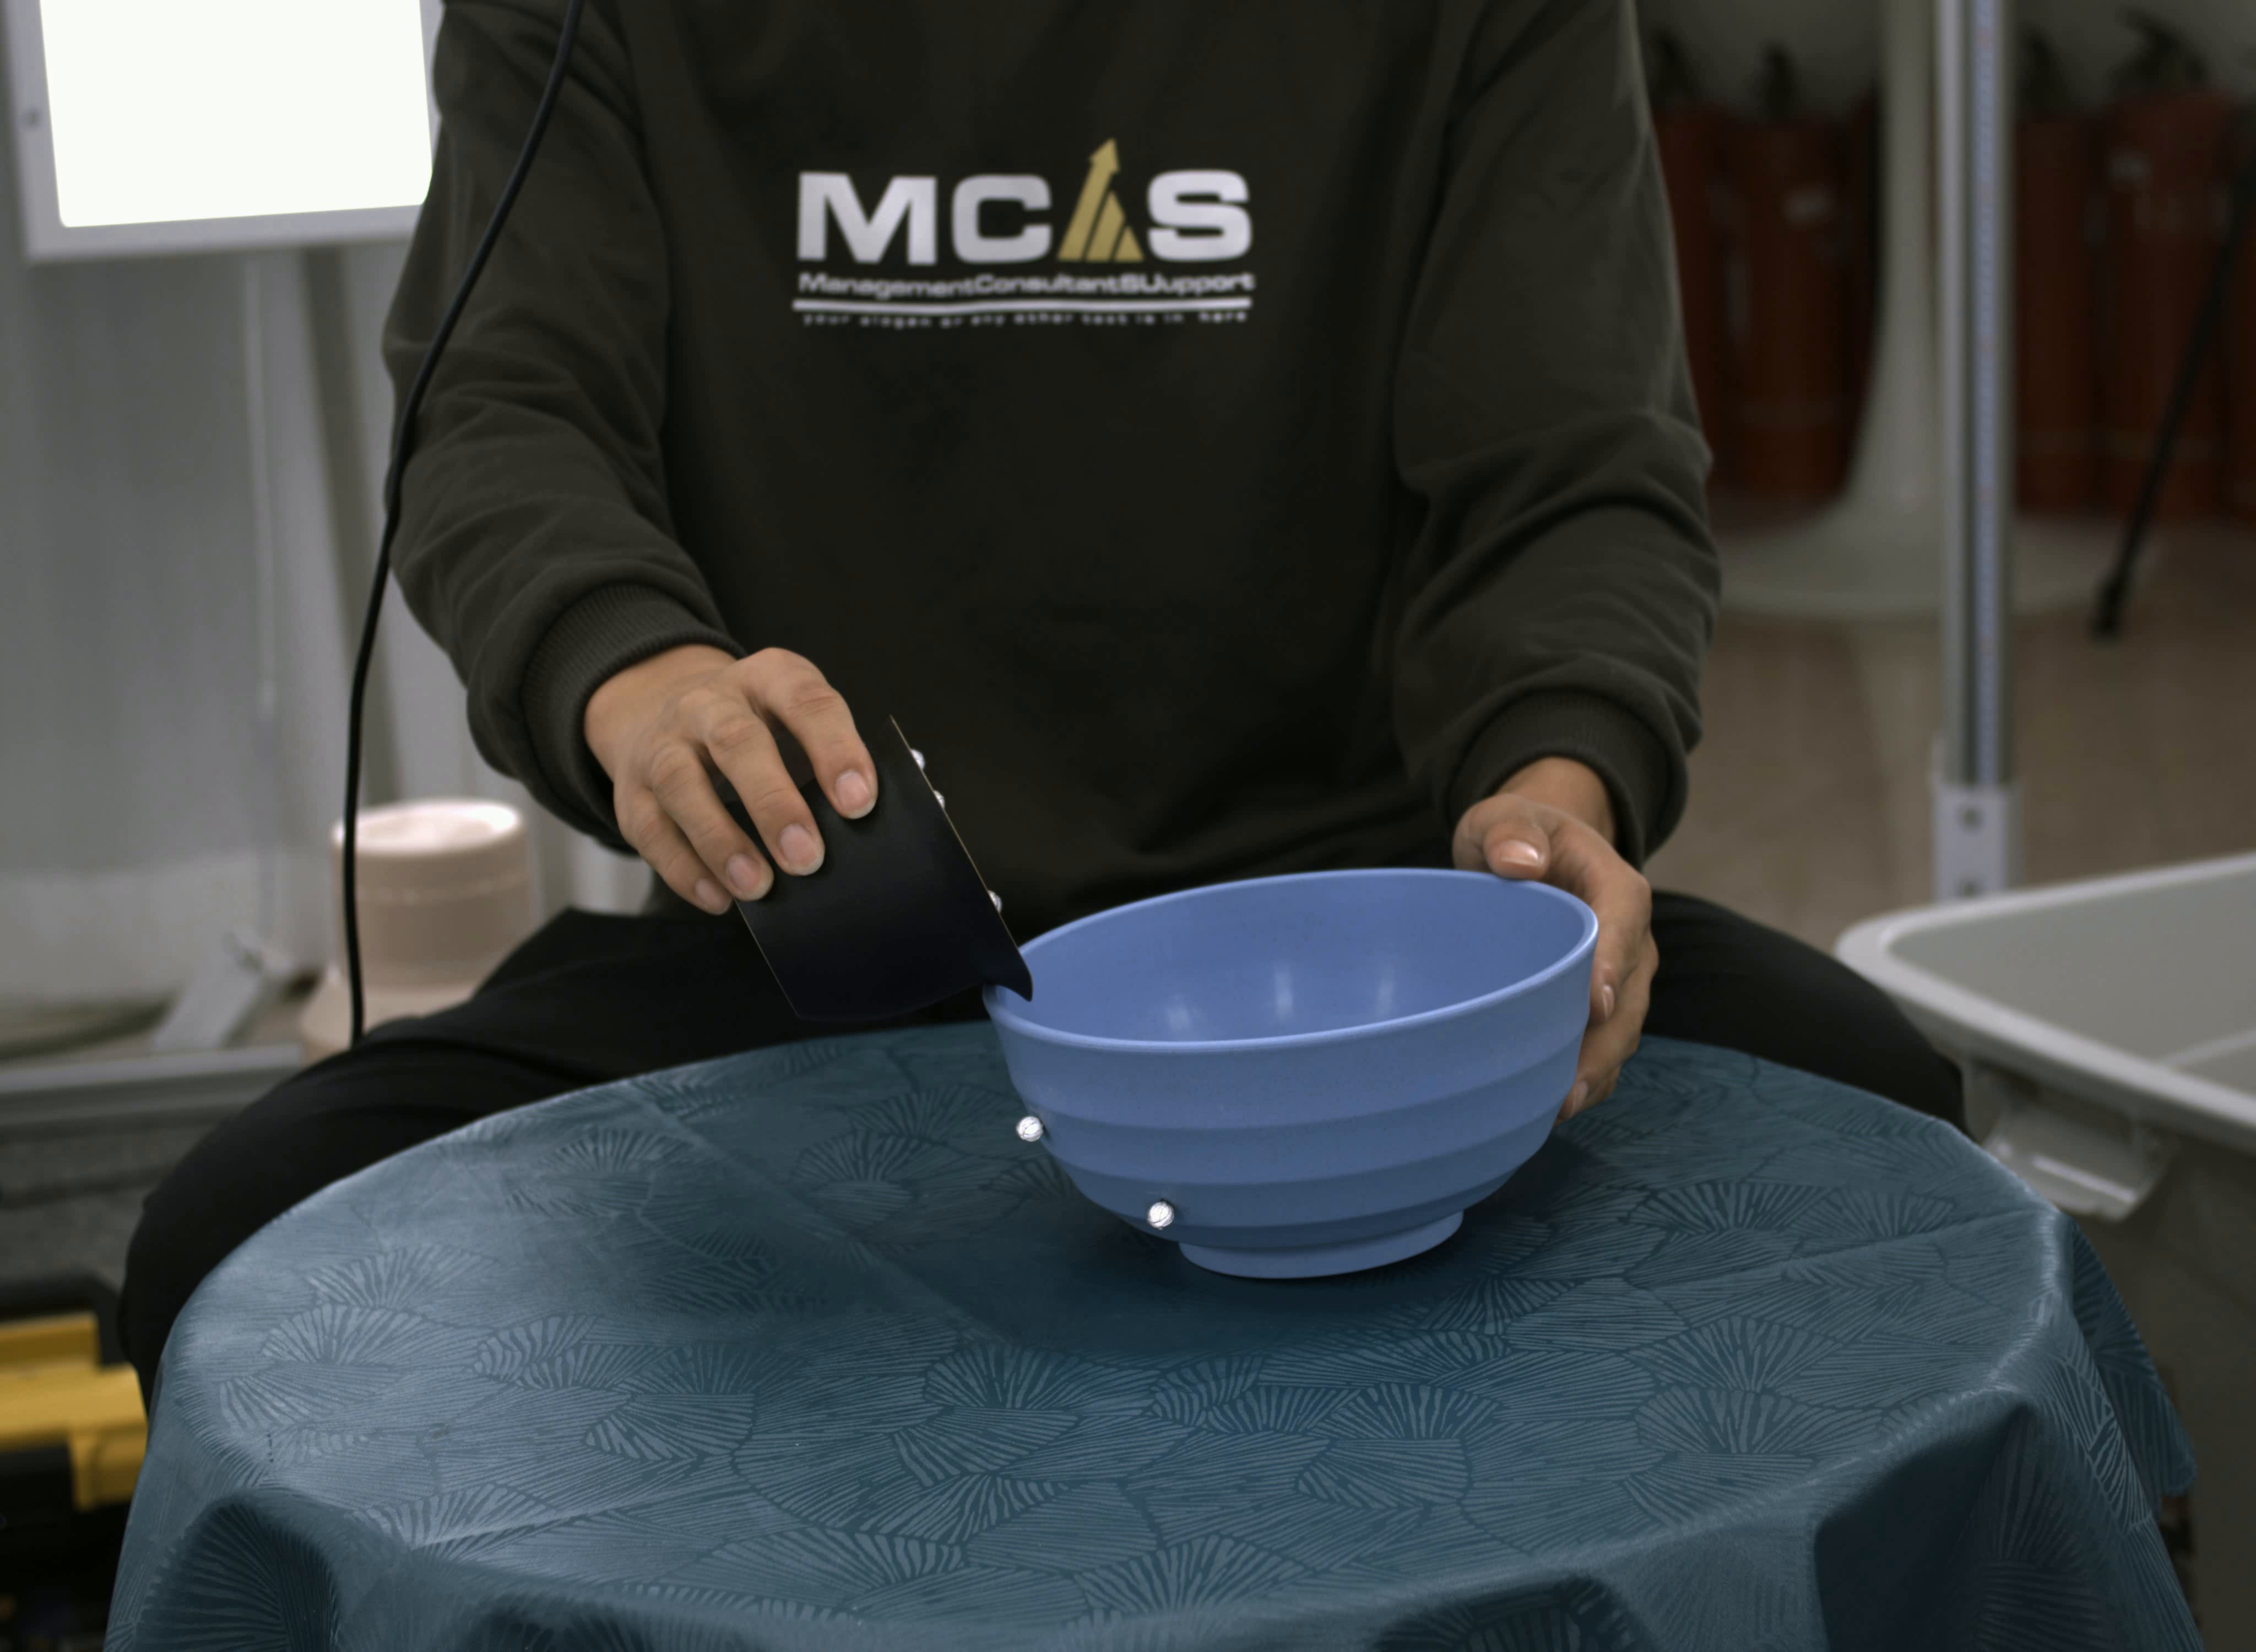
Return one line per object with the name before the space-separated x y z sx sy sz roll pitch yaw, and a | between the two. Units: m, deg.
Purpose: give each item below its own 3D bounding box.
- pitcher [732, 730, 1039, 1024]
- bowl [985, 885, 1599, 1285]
pitcher | -0.080 0.026 1.695 0.071 0.096 0.084 -29 7 -3
bowl | 0.056 0.086 1.701 0.194 0.096 0.197 -7 11 0
